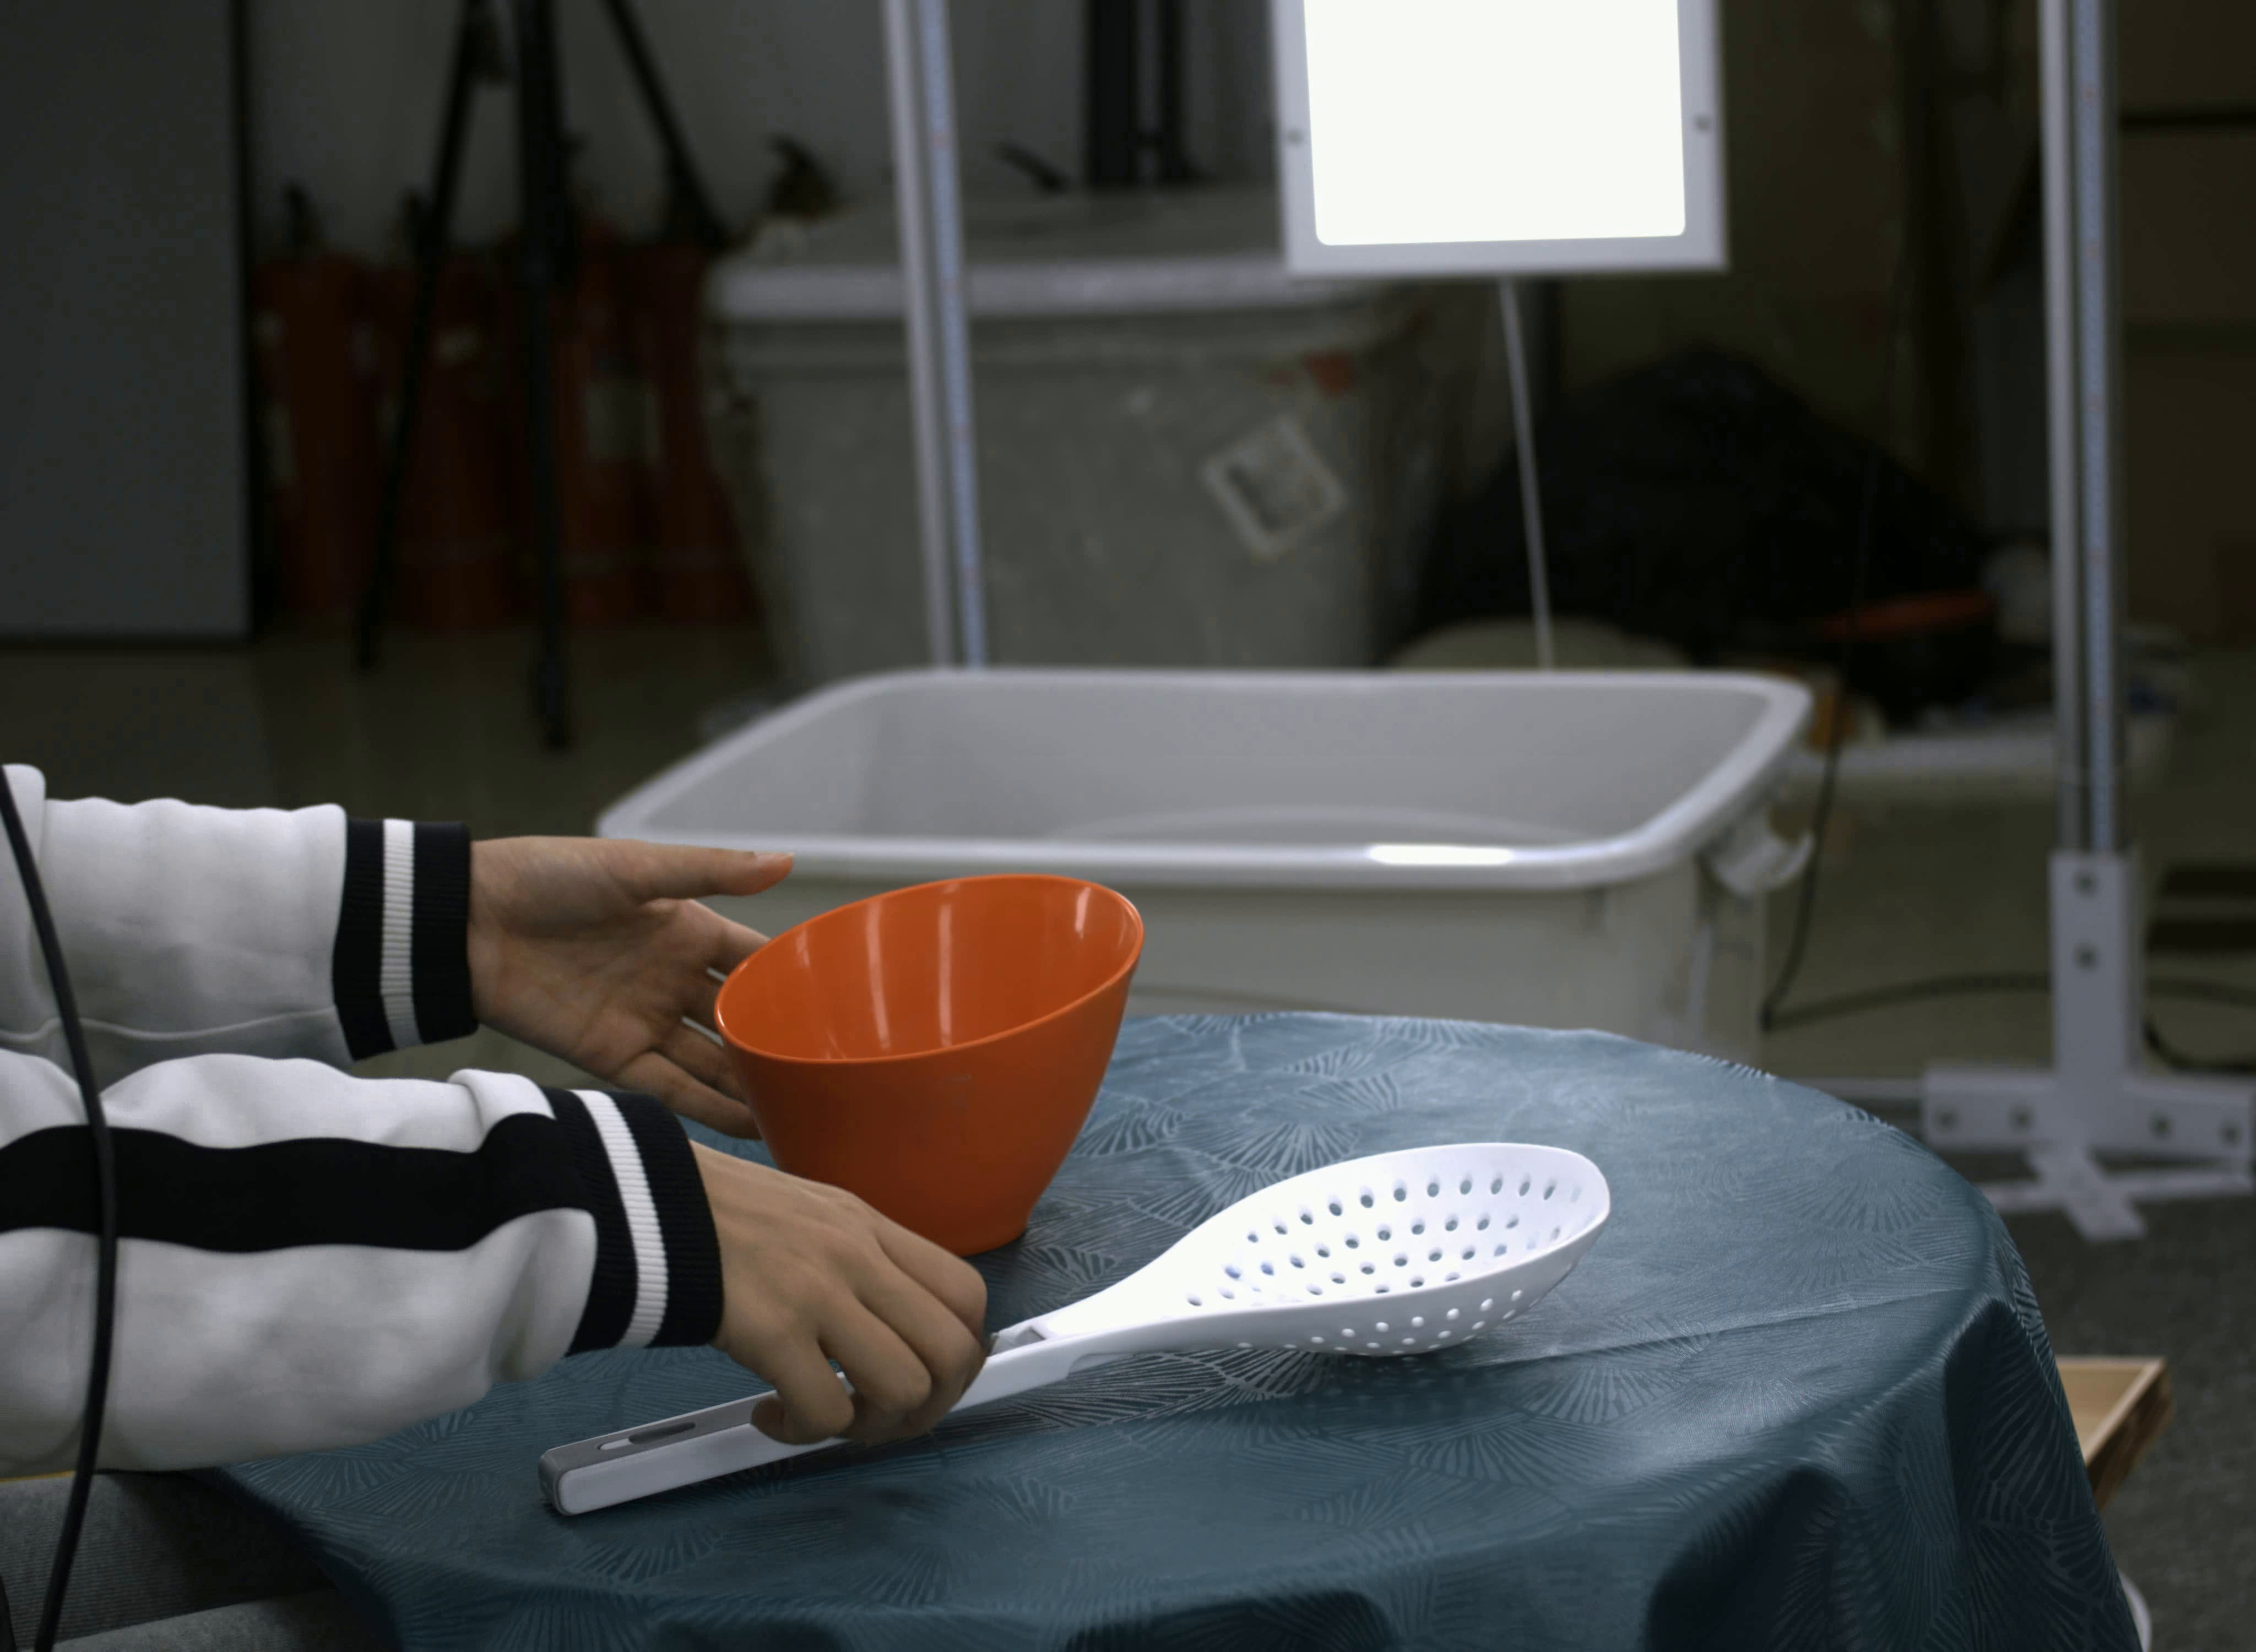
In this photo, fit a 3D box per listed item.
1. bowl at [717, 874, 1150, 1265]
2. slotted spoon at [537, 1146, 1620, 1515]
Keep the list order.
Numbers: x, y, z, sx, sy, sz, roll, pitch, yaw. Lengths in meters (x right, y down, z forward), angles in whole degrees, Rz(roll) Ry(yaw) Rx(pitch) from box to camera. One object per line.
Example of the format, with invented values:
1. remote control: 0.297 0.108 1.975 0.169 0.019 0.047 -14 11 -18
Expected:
1. bowl: -0.064 0.086 1.869 0.147 0.105 0.148 -3 17 0
2. slotted spoon: -0.012 0.156 1.688 0.344 0.046 0.137 -10 13 -16
